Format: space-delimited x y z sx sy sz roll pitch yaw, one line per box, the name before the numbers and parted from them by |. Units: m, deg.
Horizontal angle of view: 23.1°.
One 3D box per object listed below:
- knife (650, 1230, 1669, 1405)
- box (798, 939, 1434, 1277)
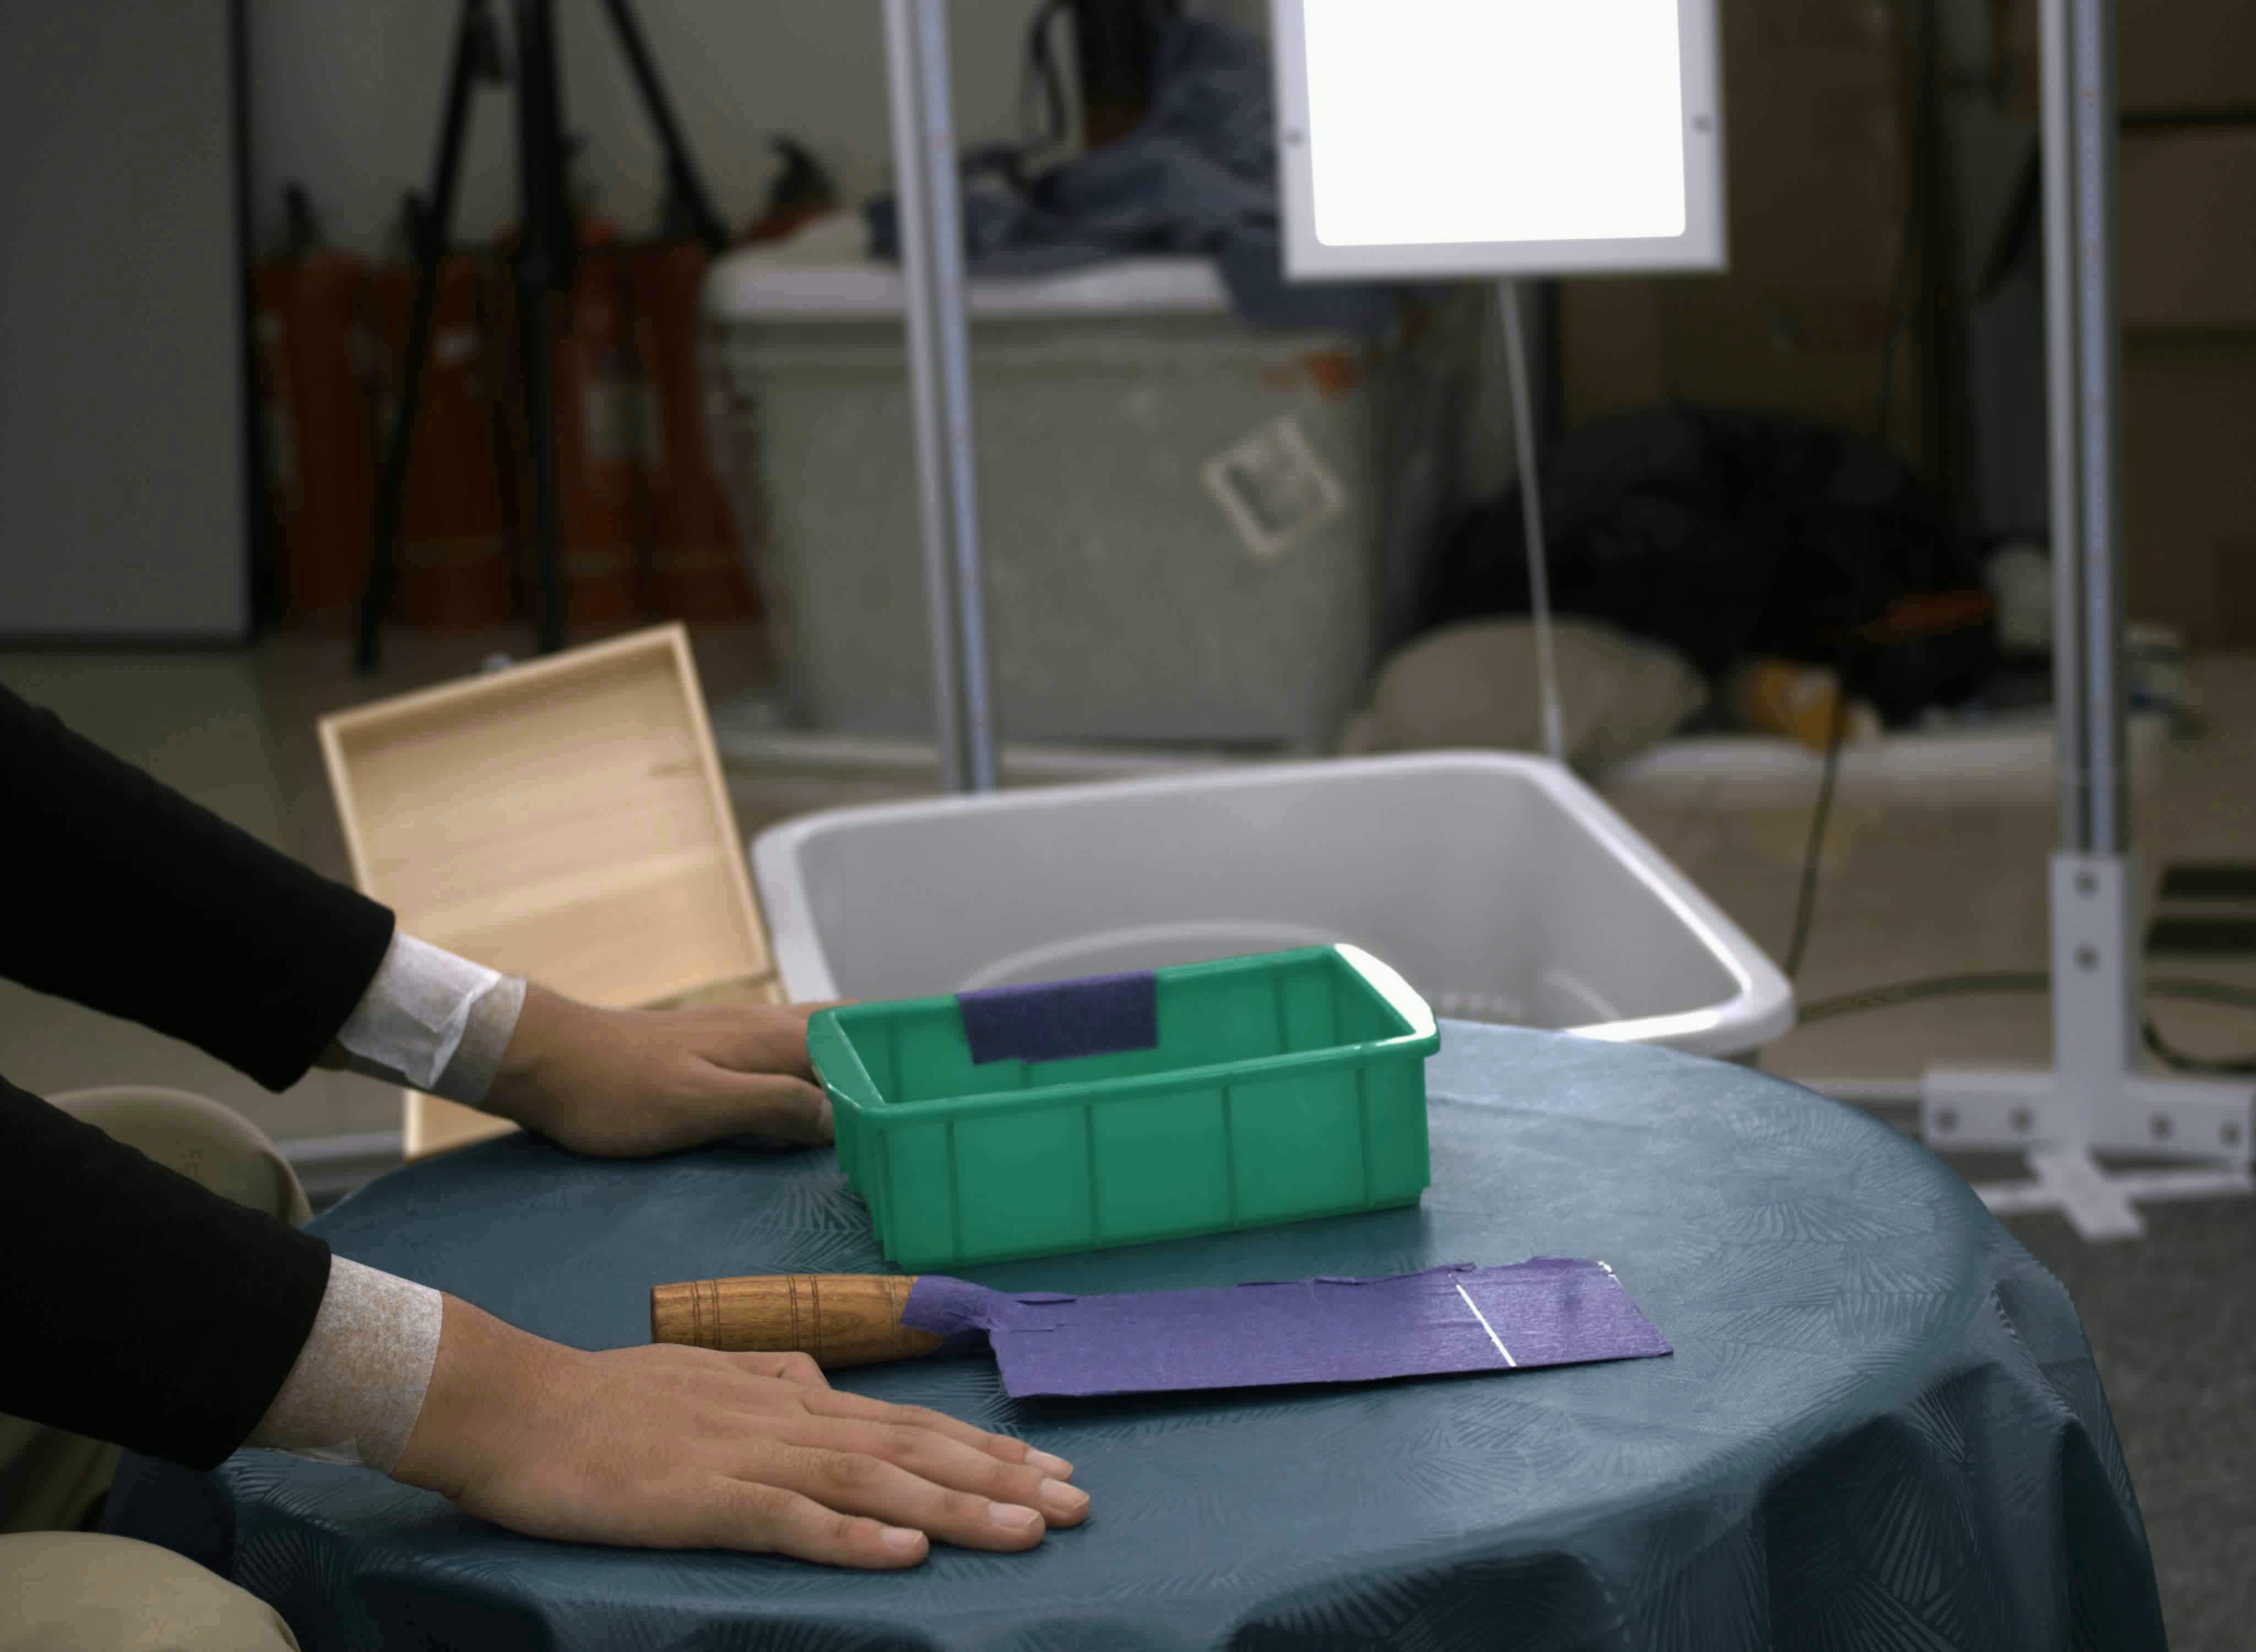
knife | 0.009 0.155 1.721 0.313 0.032 0.104 -6 14 -5
box | -0.003 0.097 1.891 0.208 0.065 0.139 -9 13 -9
